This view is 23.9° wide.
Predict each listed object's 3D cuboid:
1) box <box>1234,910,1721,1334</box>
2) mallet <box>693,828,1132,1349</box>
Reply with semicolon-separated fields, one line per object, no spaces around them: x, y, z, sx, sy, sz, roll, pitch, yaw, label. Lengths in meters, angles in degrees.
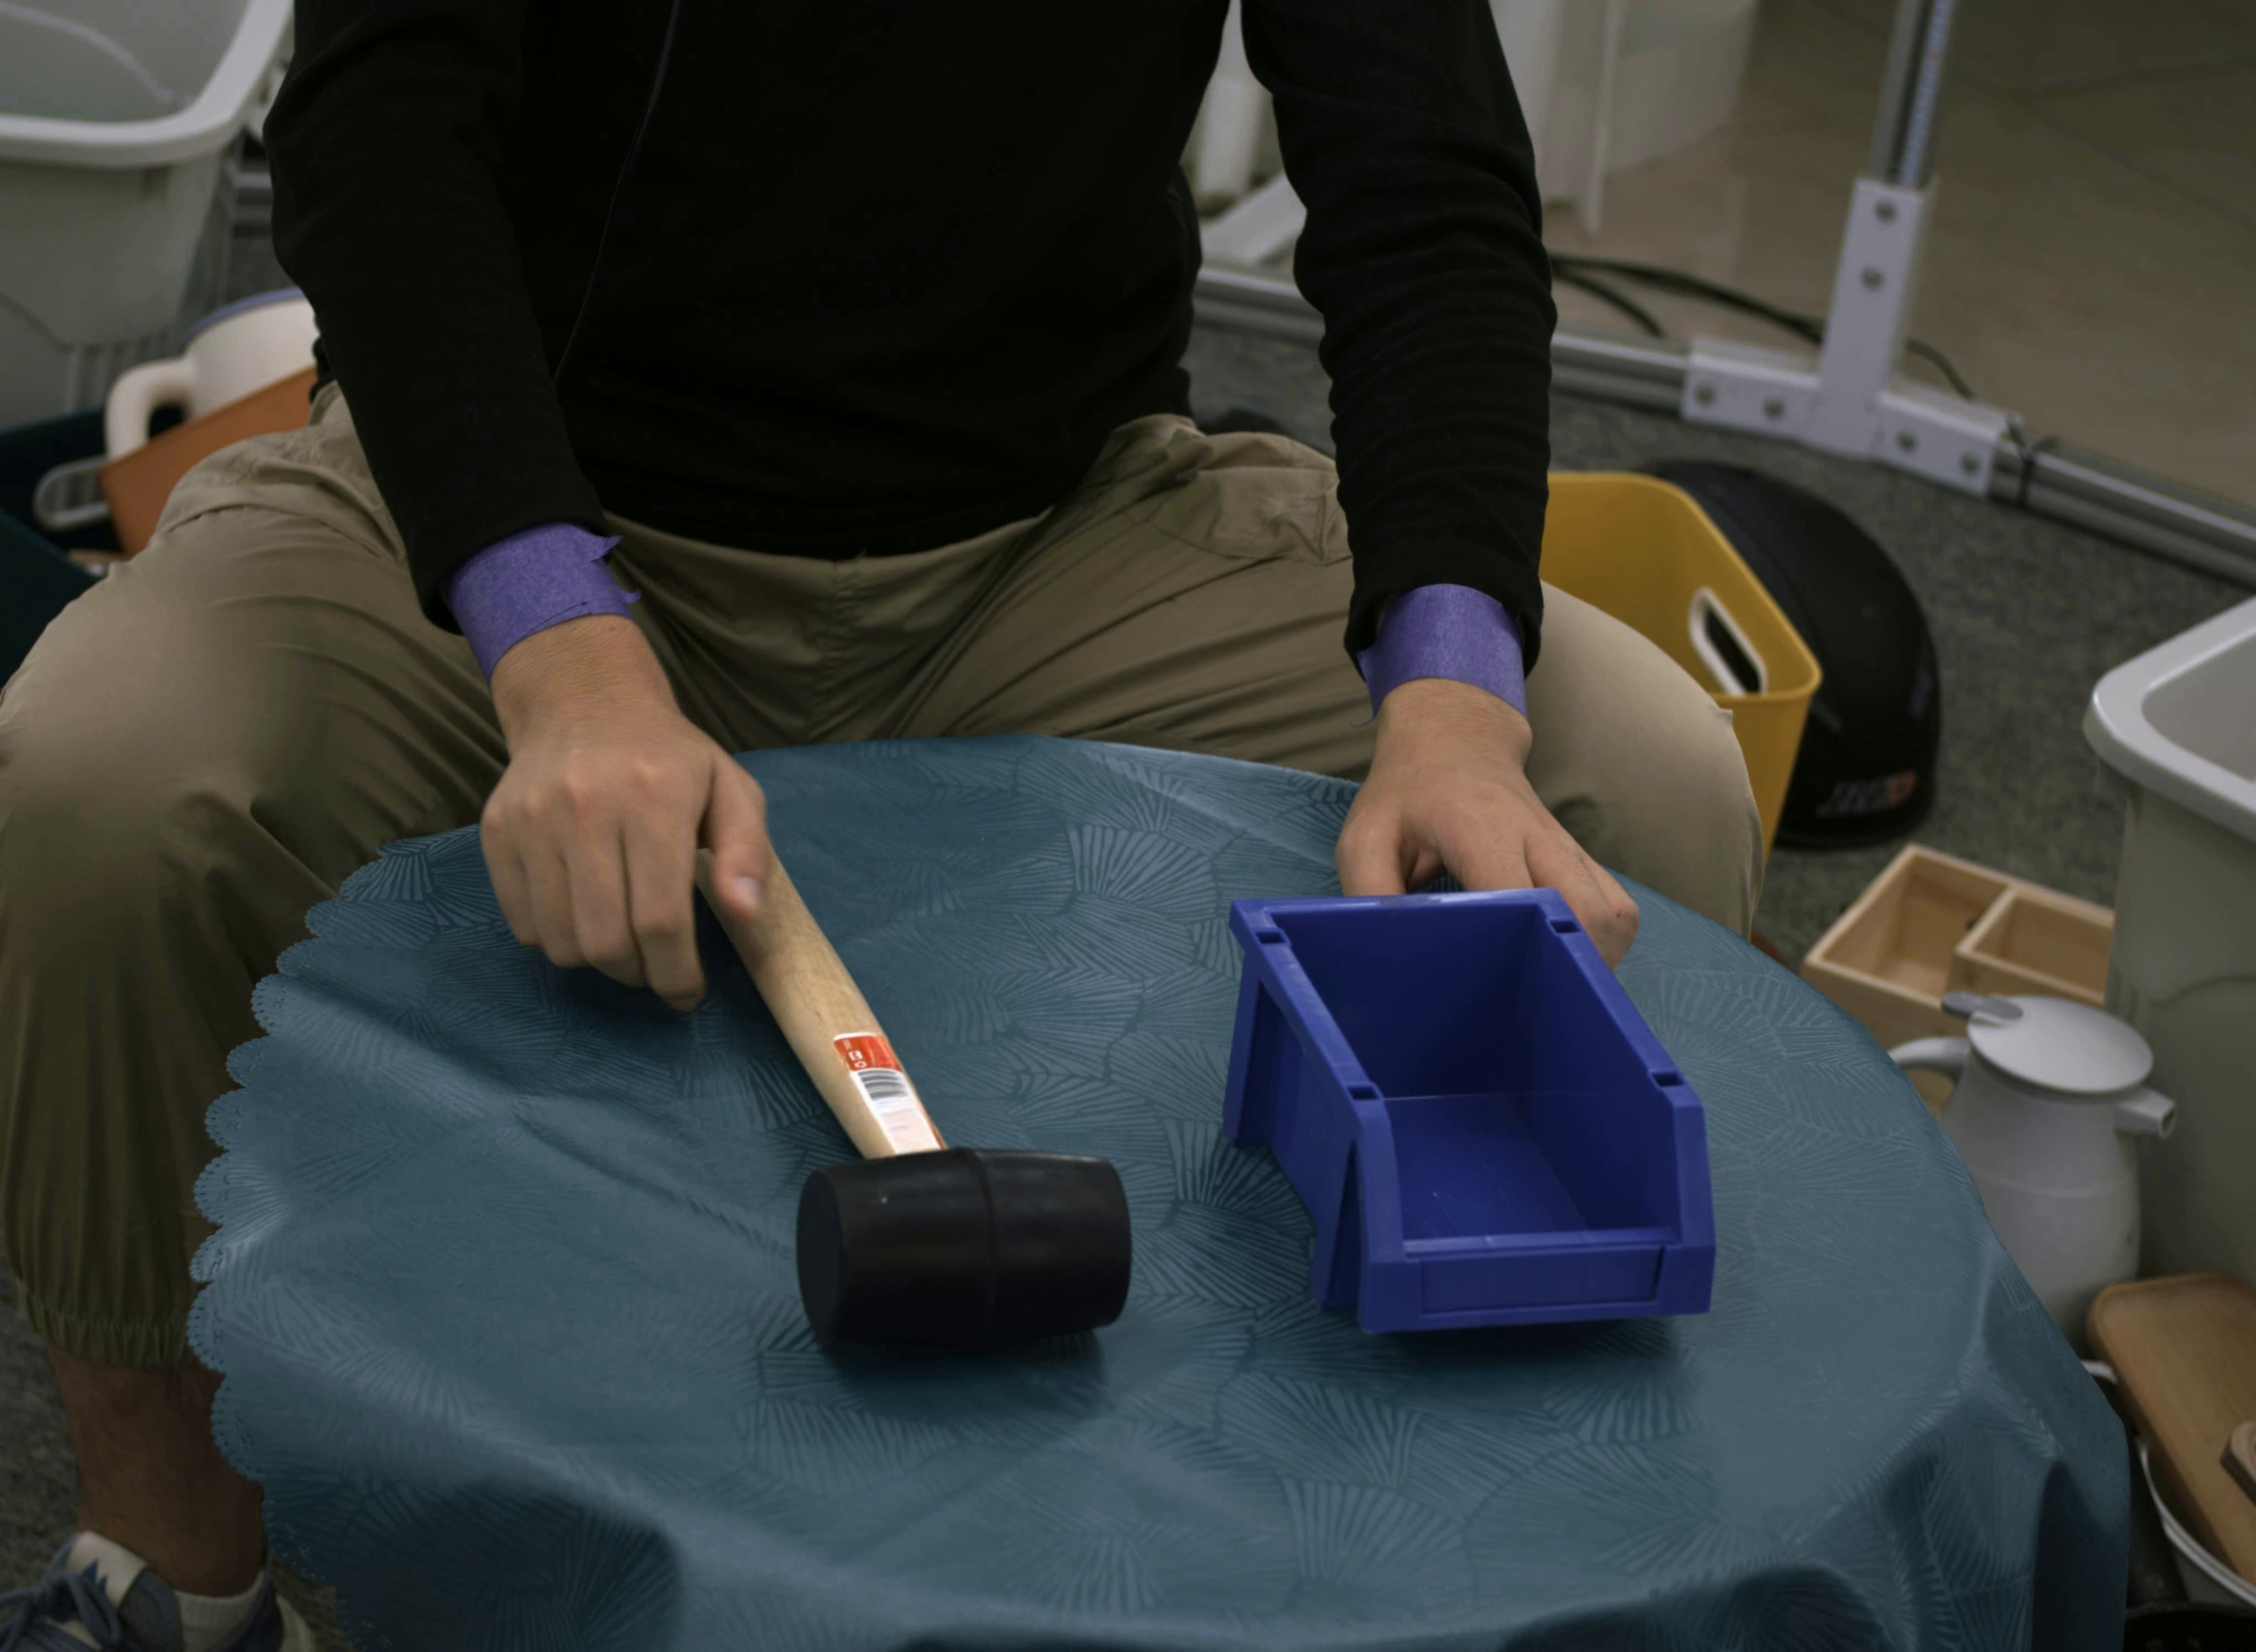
0.116;0.104;1.781;0.124;0.081;0.181;-1;24;-15;box
-0.094;0.073;1.818;0.101;0.064;0.342;2;26;-20;mallet
